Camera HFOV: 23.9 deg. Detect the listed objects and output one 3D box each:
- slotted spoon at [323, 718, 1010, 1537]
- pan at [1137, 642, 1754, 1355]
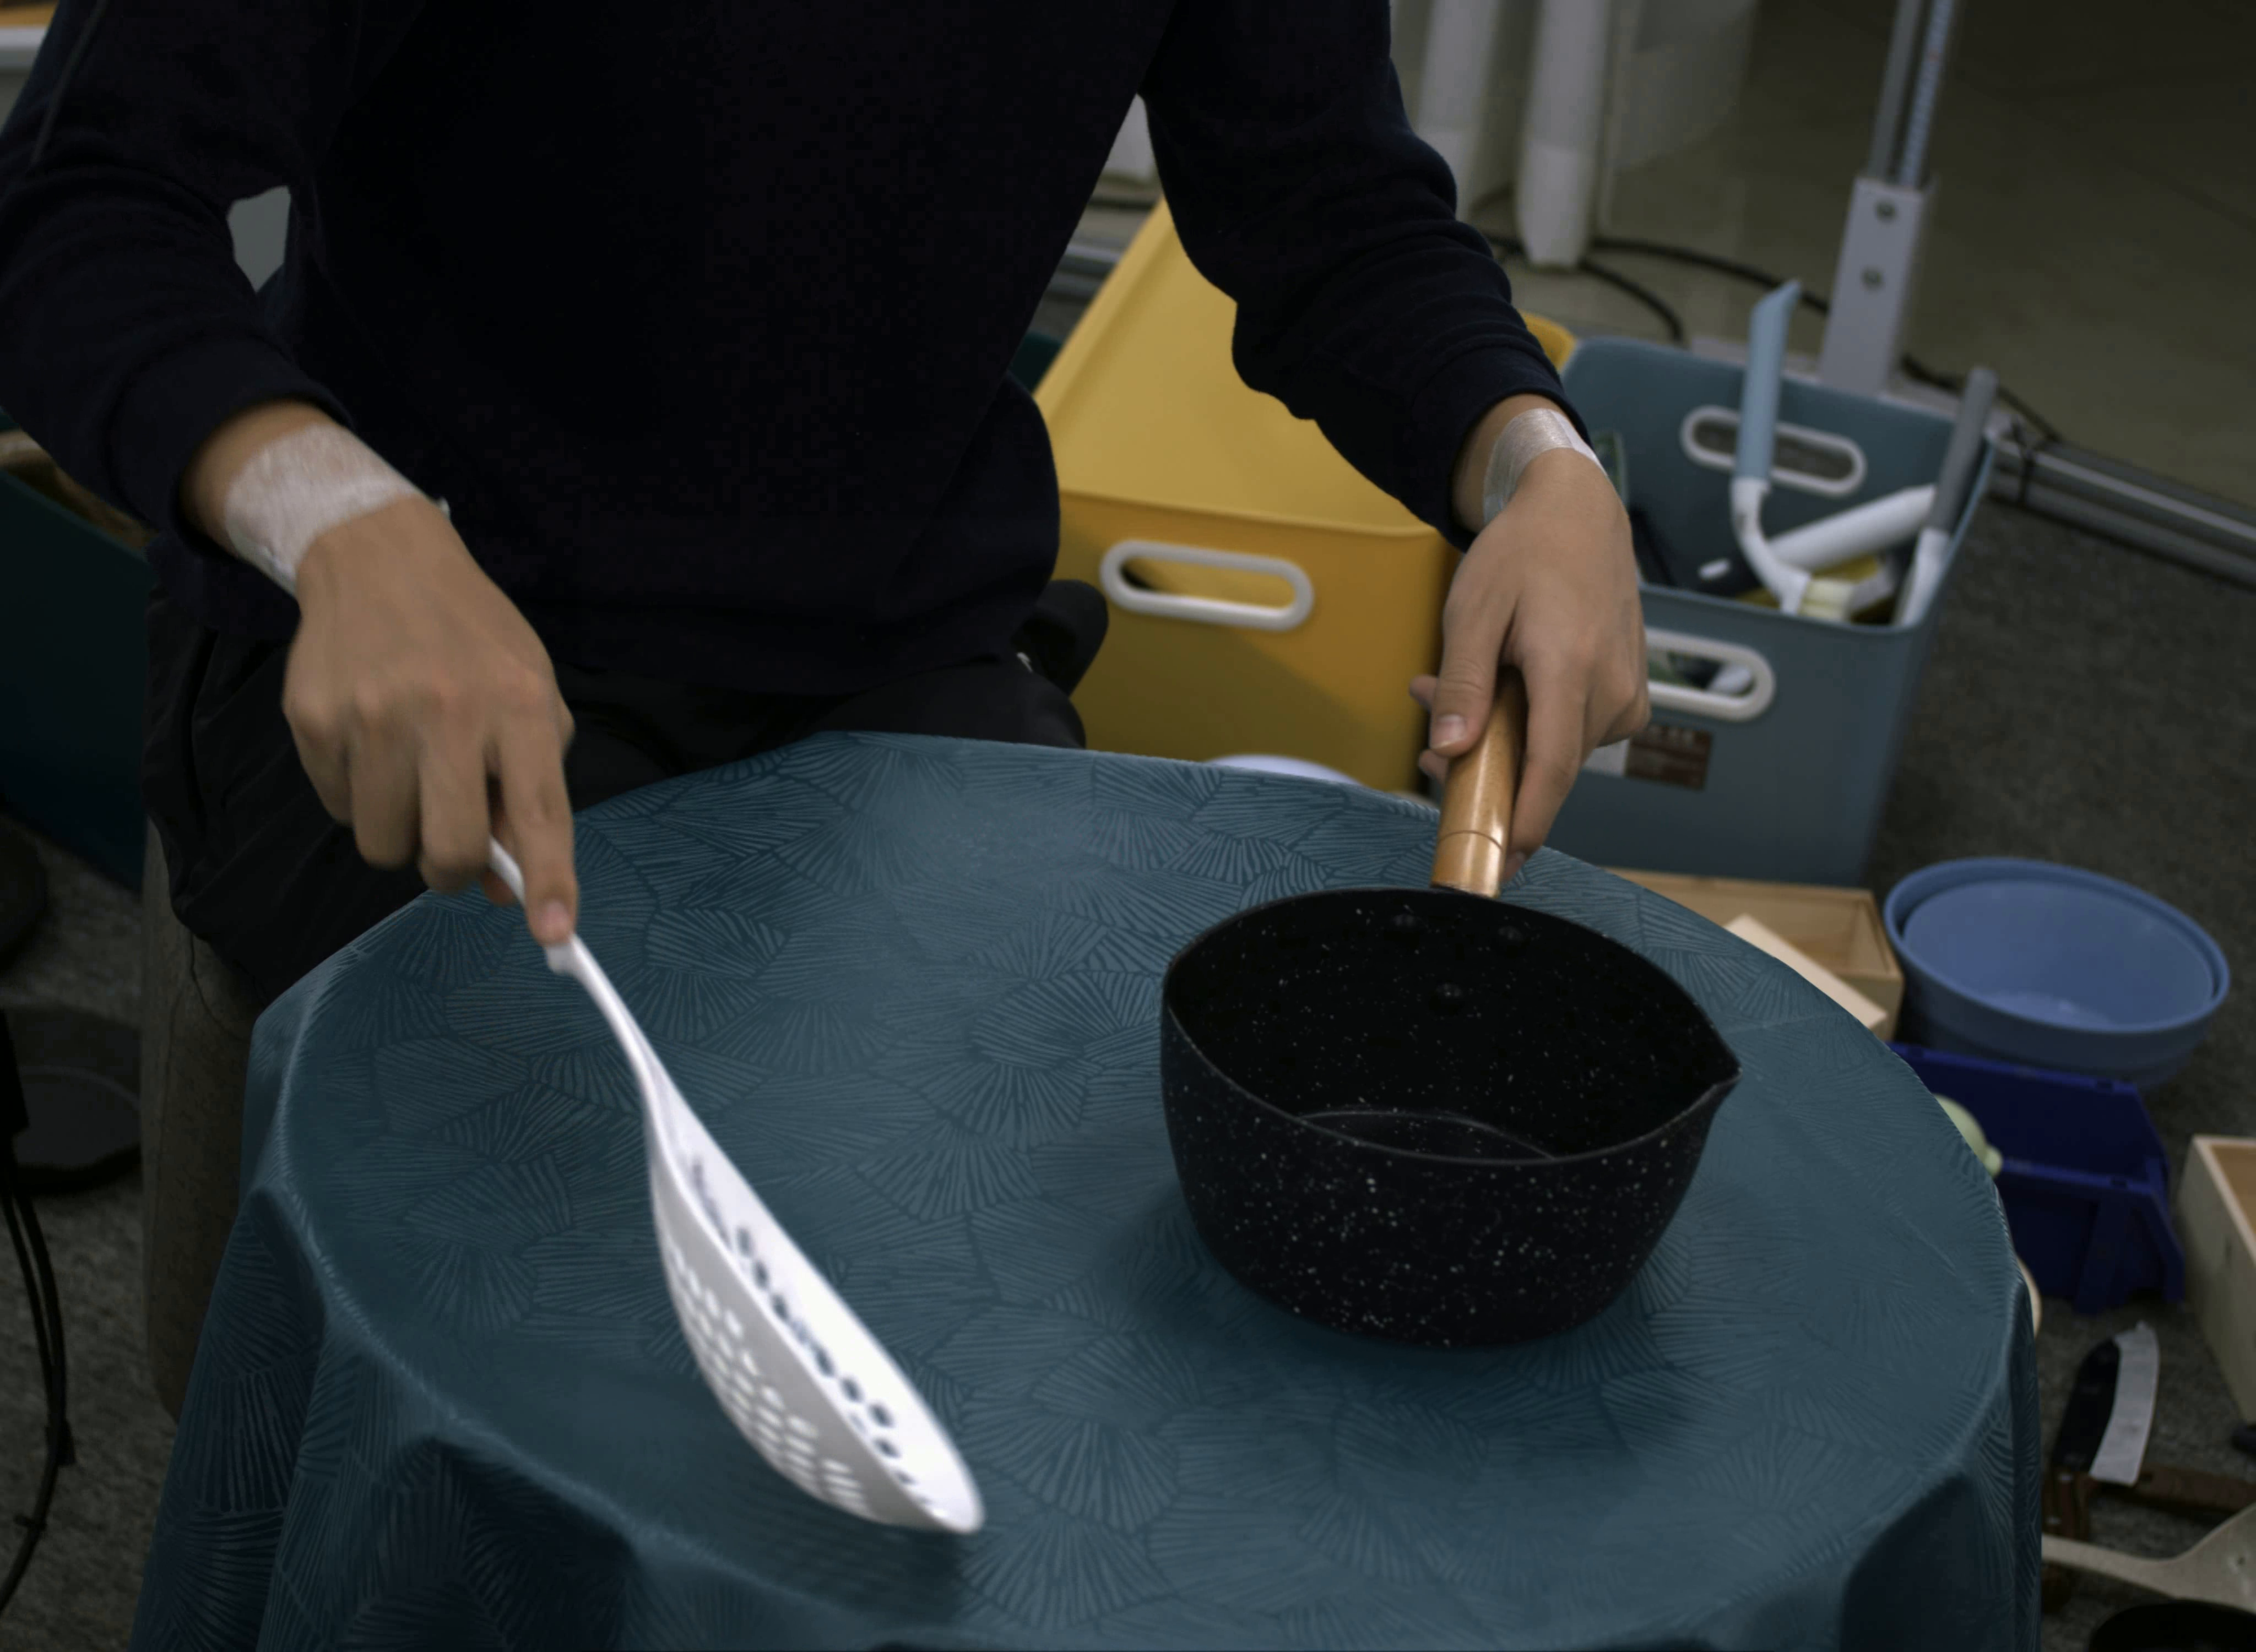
[{"bbox_3d":[-0.150,0.086,1.631,0.351,0.050,0.136,57,8,27],"label":"slotted spoon"},{"bbox_3d":[0.111,0.055,1.843,0.207,0.108,0.344,7,28,4],"label":"pan"}]
